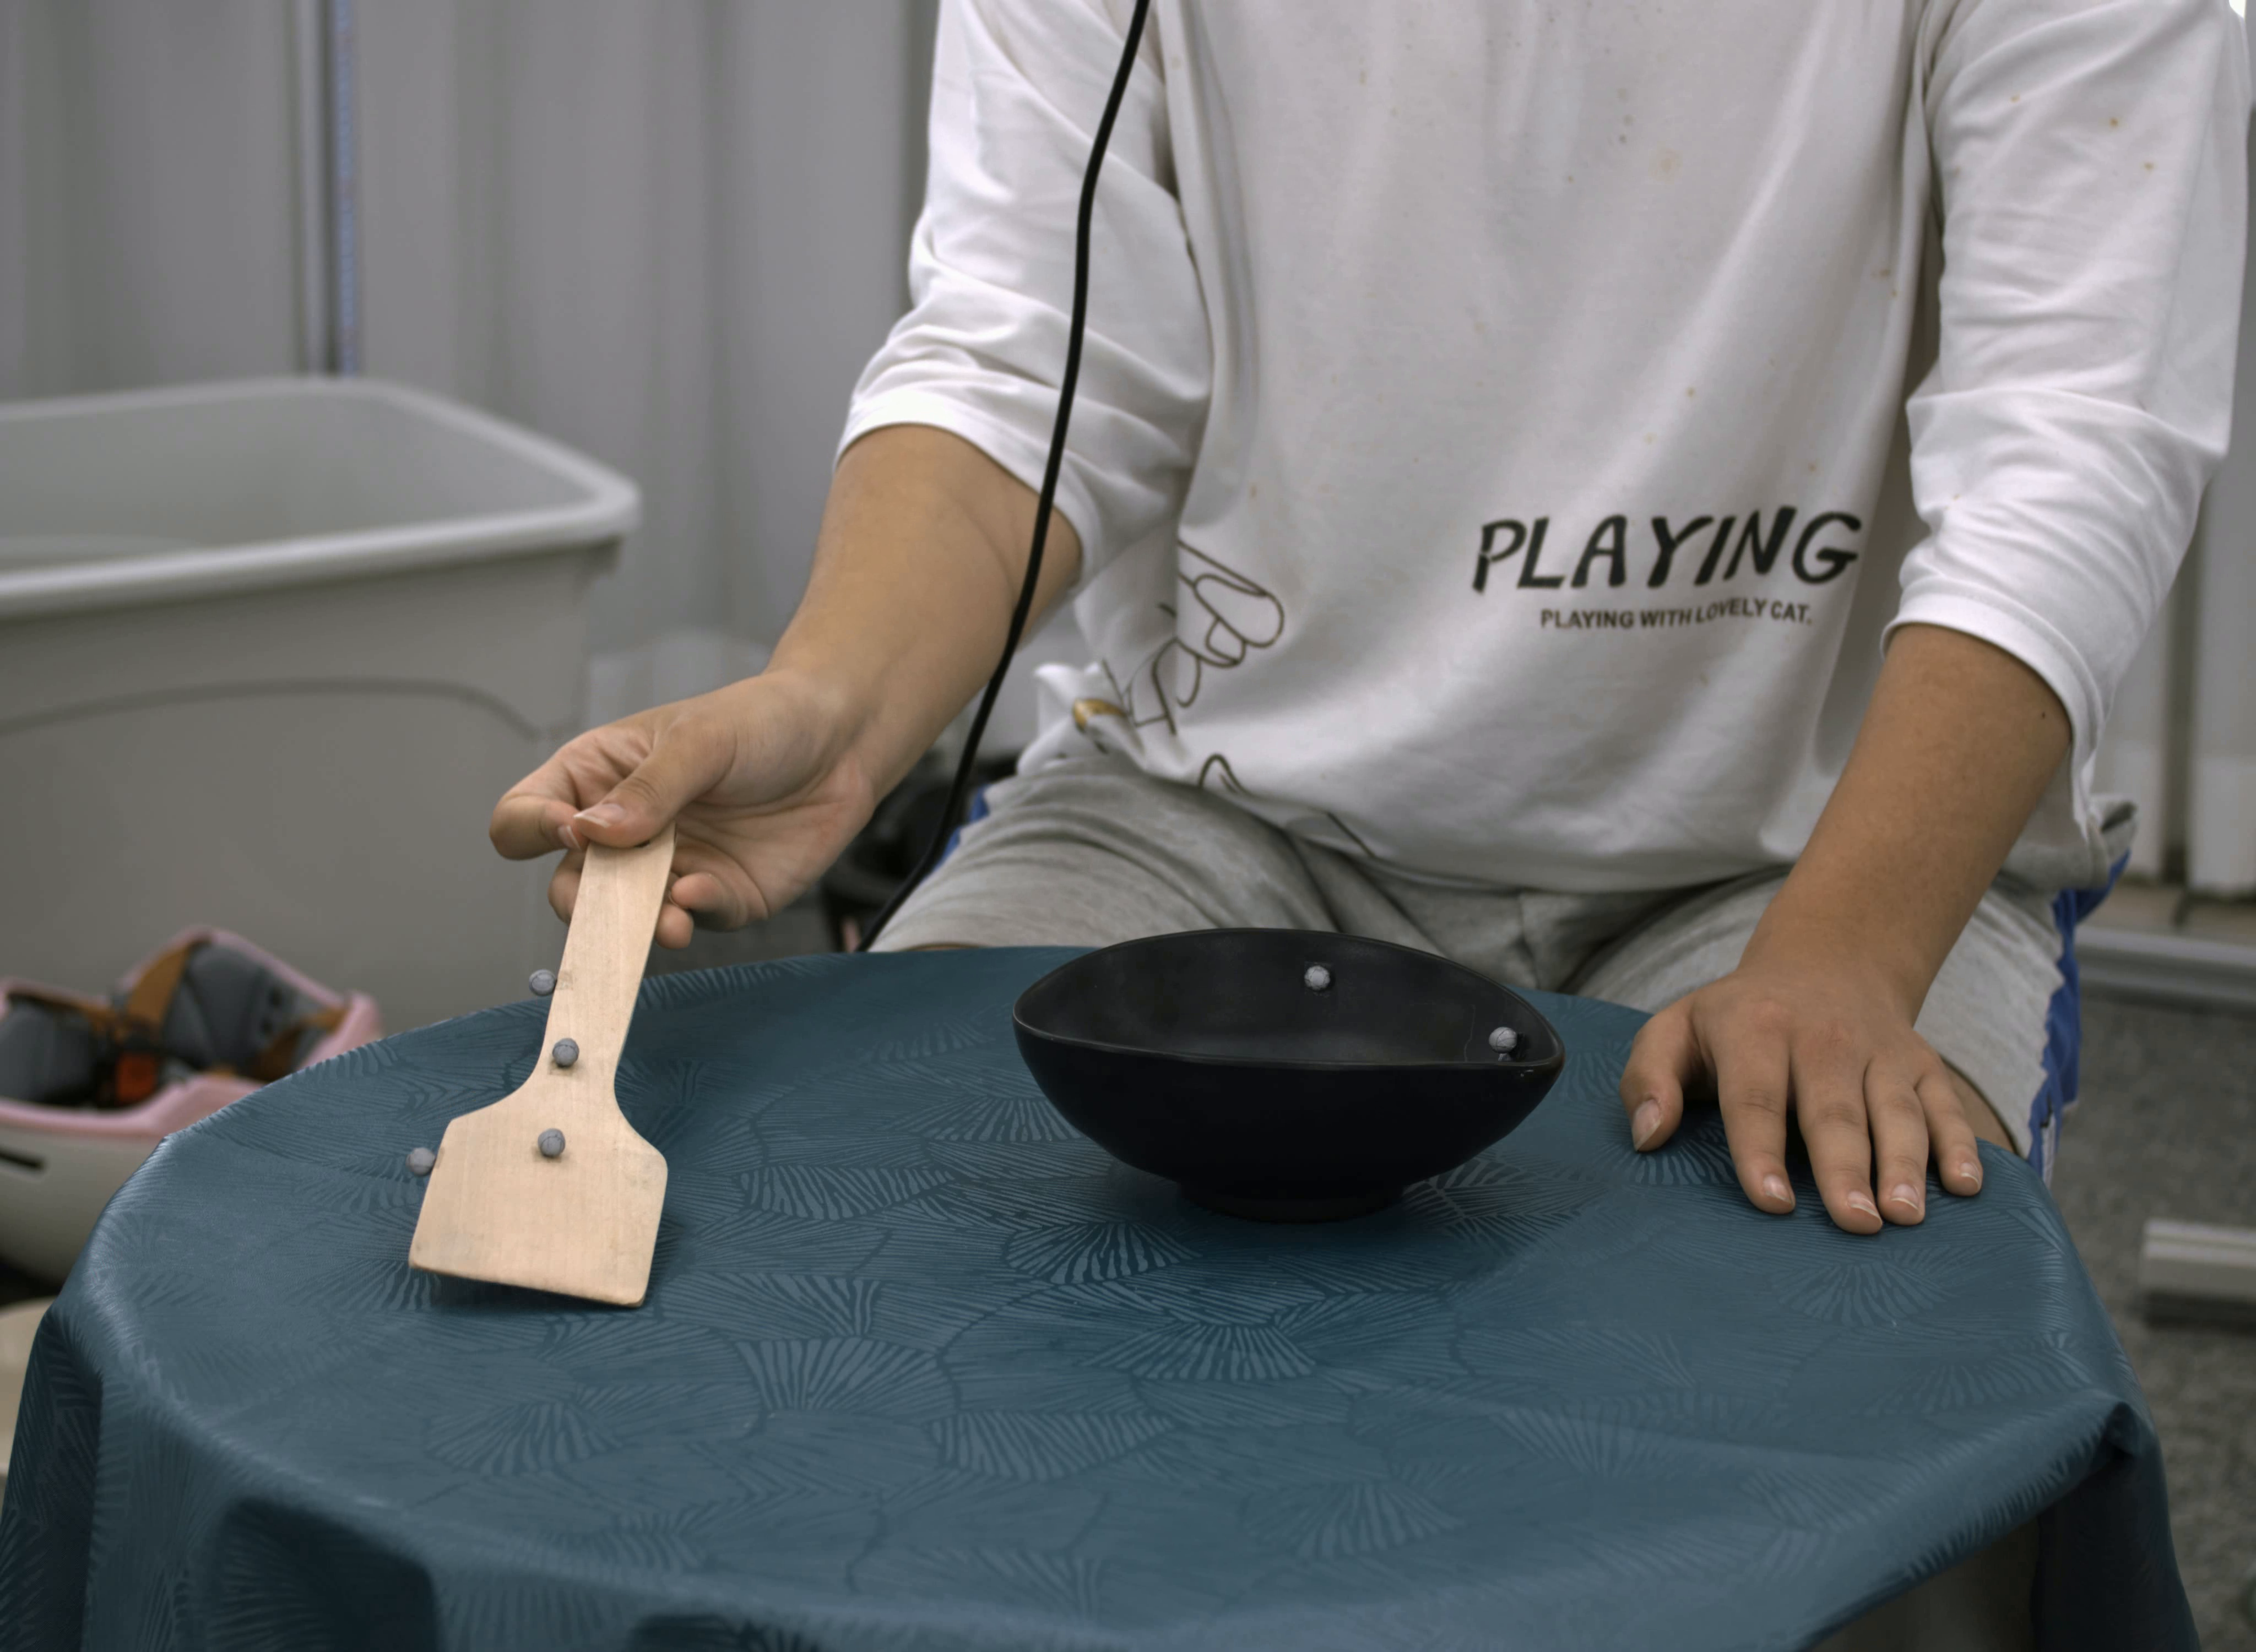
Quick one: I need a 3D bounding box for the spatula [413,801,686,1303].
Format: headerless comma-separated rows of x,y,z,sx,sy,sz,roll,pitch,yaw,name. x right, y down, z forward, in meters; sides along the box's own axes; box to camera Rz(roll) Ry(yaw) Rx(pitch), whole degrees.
-0.169,0.064,1.649,0.072,0.011,0.291,10,29,-3,spatula

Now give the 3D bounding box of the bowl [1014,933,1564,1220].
0.049,0.081,1.627,0.170,0.067,0.136,3,15,0,bowl
